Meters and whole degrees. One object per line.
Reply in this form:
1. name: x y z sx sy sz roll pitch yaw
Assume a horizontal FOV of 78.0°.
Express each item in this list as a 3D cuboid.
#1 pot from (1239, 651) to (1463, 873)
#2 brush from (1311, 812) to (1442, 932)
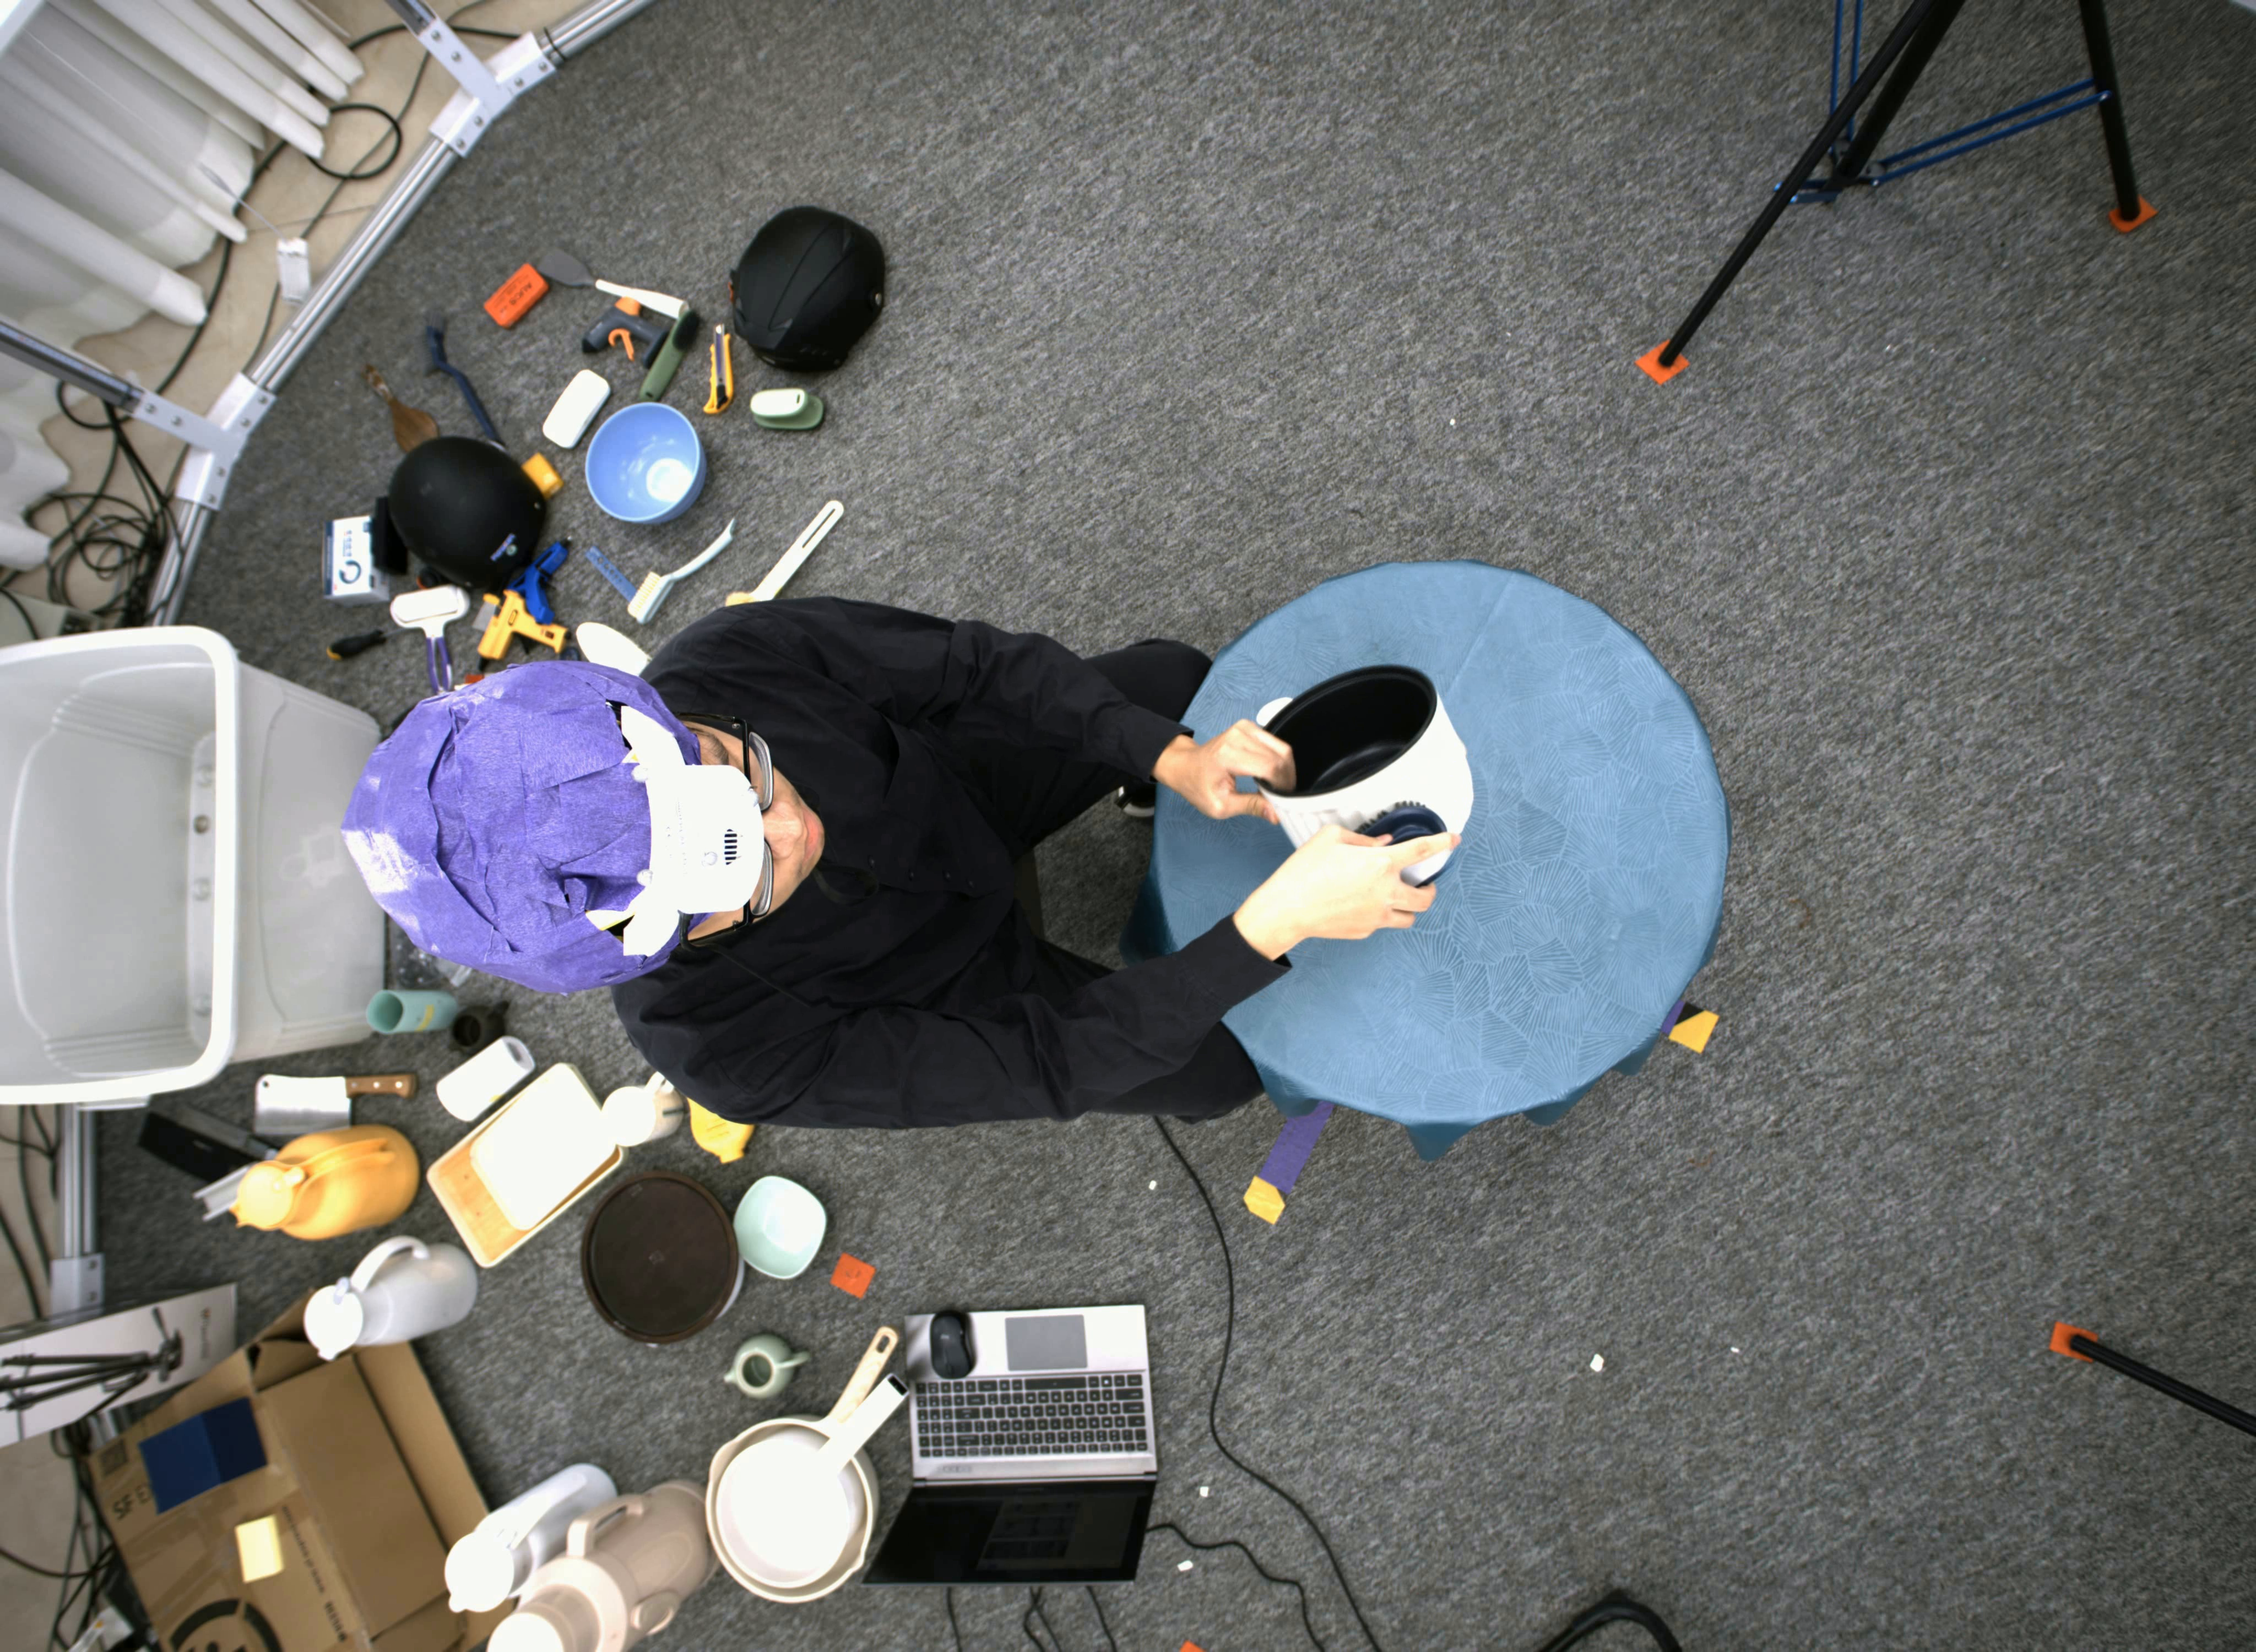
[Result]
1. pot: 0.218 -0.059 1.283 0.188 0.239 0.145 -46 124 -14
2. brush: 0.214 0.037 1.193 0.123 0.060 0.068 -34 121 18
